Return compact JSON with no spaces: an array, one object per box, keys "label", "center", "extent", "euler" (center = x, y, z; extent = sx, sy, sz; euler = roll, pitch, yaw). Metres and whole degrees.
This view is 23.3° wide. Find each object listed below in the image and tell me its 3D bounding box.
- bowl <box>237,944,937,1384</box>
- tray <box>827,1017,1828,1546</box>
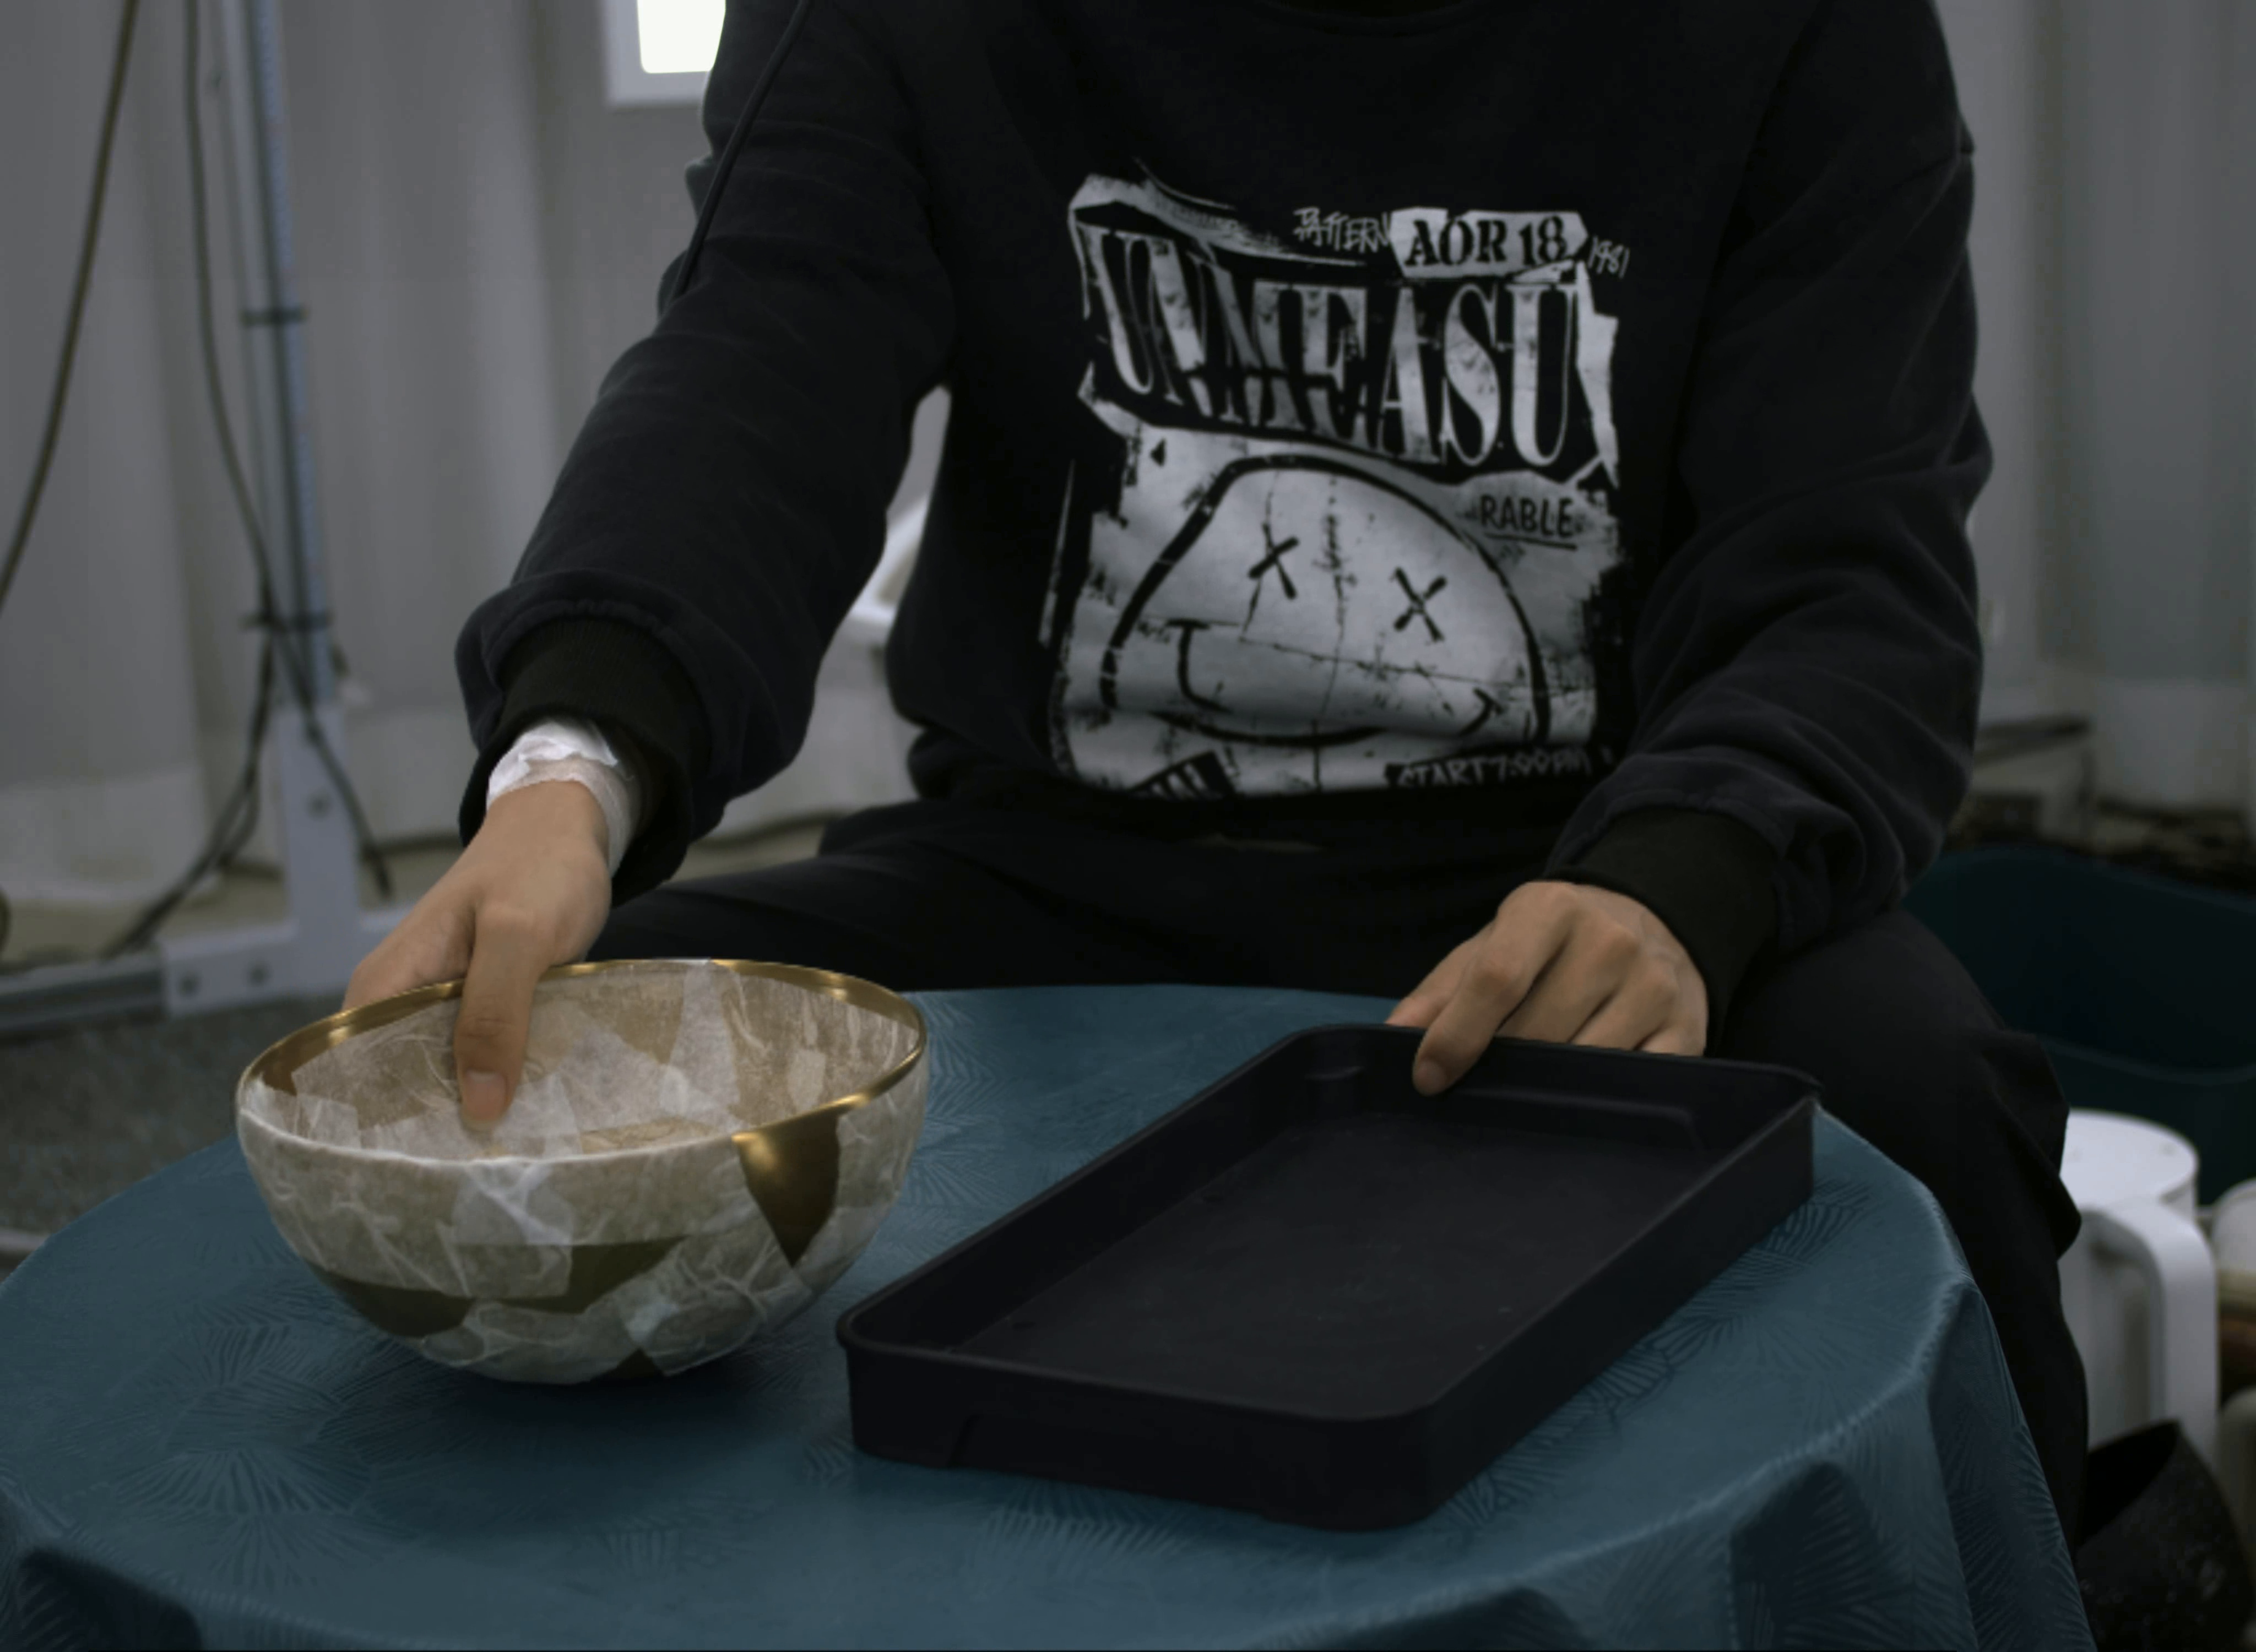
[{"label":"bowl","center":[-0.151,0.107,1.593],"extent":[0.214,0.094,0.216],"euler":[-5,14,1]},{"label":"tray","center":[0.066,0.126,1.596],"extent":[0.185,0.037,0.318],"euler":[6,18,29]}]
